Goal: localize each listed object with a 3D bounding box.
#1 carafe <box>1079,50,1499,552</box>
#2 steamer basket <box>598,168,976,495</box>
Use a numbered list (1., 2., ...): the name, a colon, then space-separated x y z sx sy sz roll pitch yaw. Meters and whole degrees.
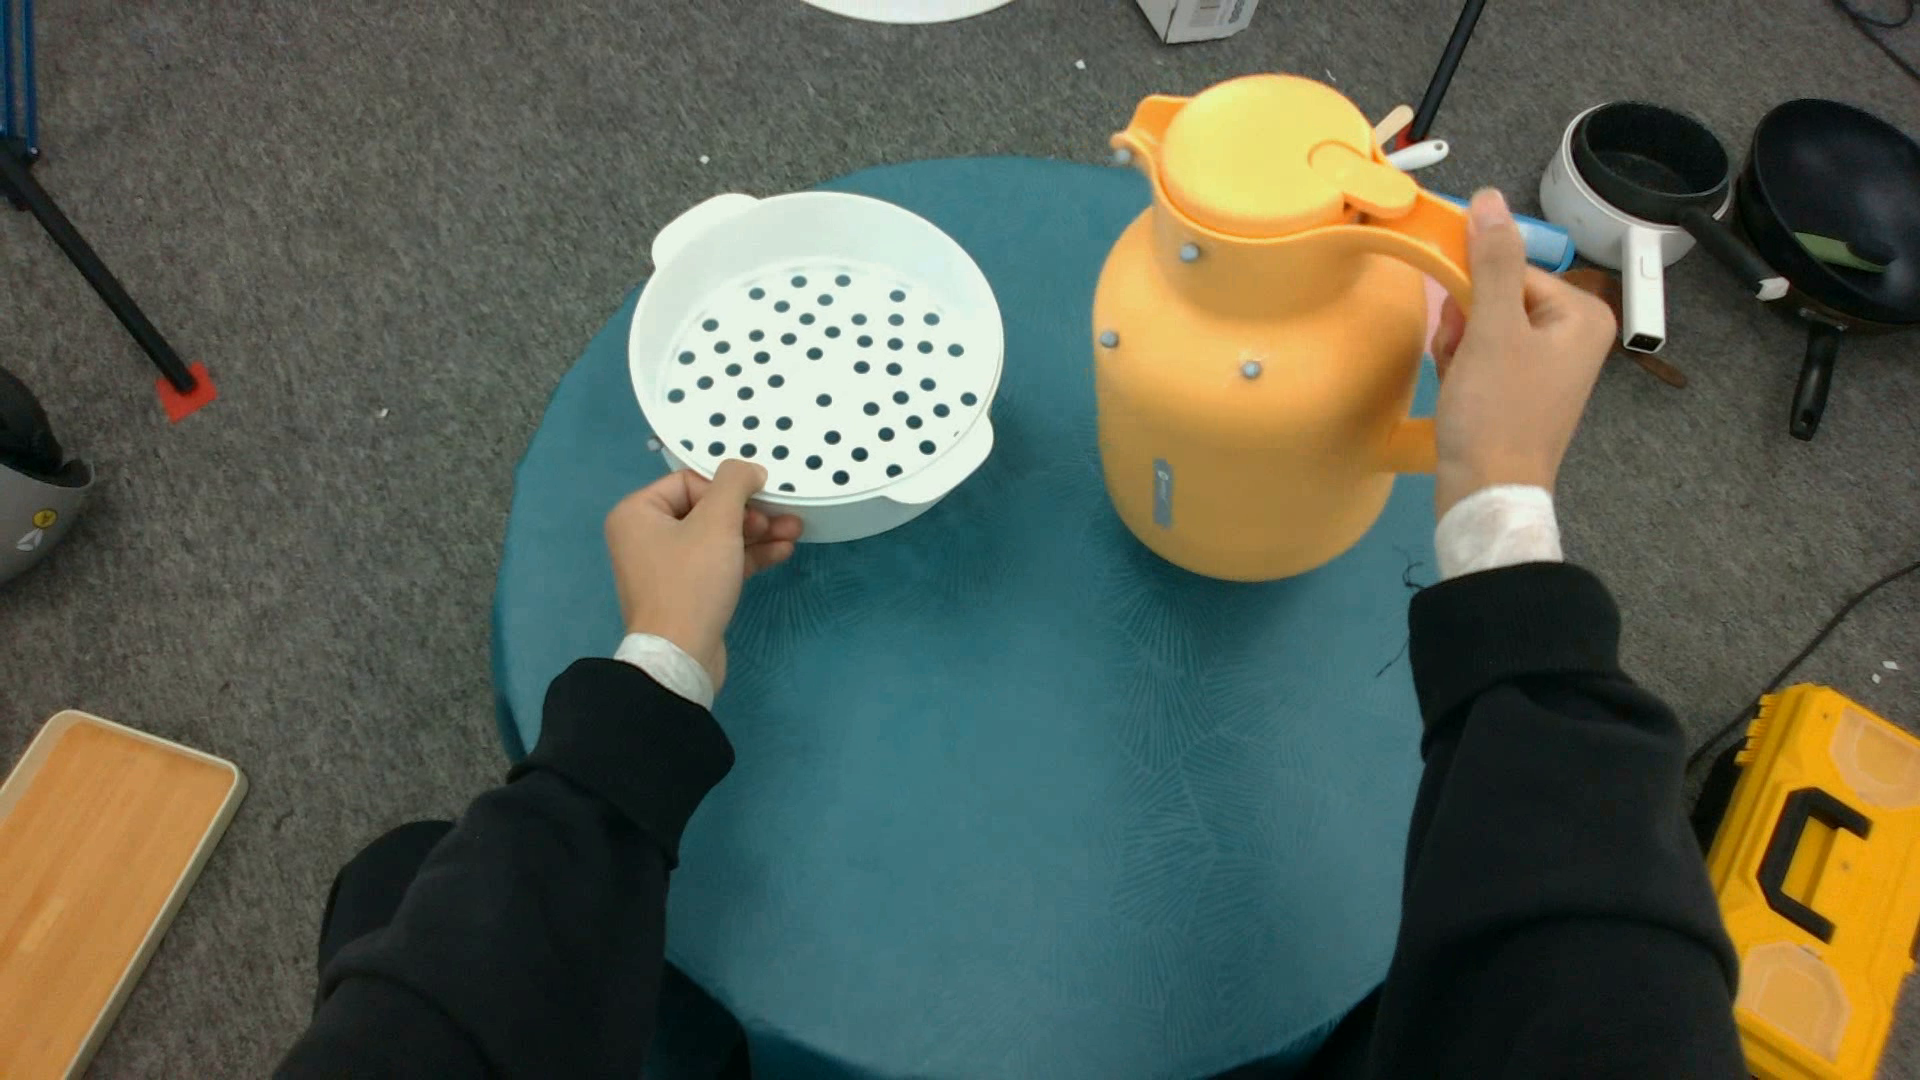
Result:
1. carafe: 0.155 -0.106 0.682 0.202 0.259 0.164 31 70 25
2. steamer basket: -0.092 -0.115 0.756 0.202 0.069 0.231 -38 62 -24
